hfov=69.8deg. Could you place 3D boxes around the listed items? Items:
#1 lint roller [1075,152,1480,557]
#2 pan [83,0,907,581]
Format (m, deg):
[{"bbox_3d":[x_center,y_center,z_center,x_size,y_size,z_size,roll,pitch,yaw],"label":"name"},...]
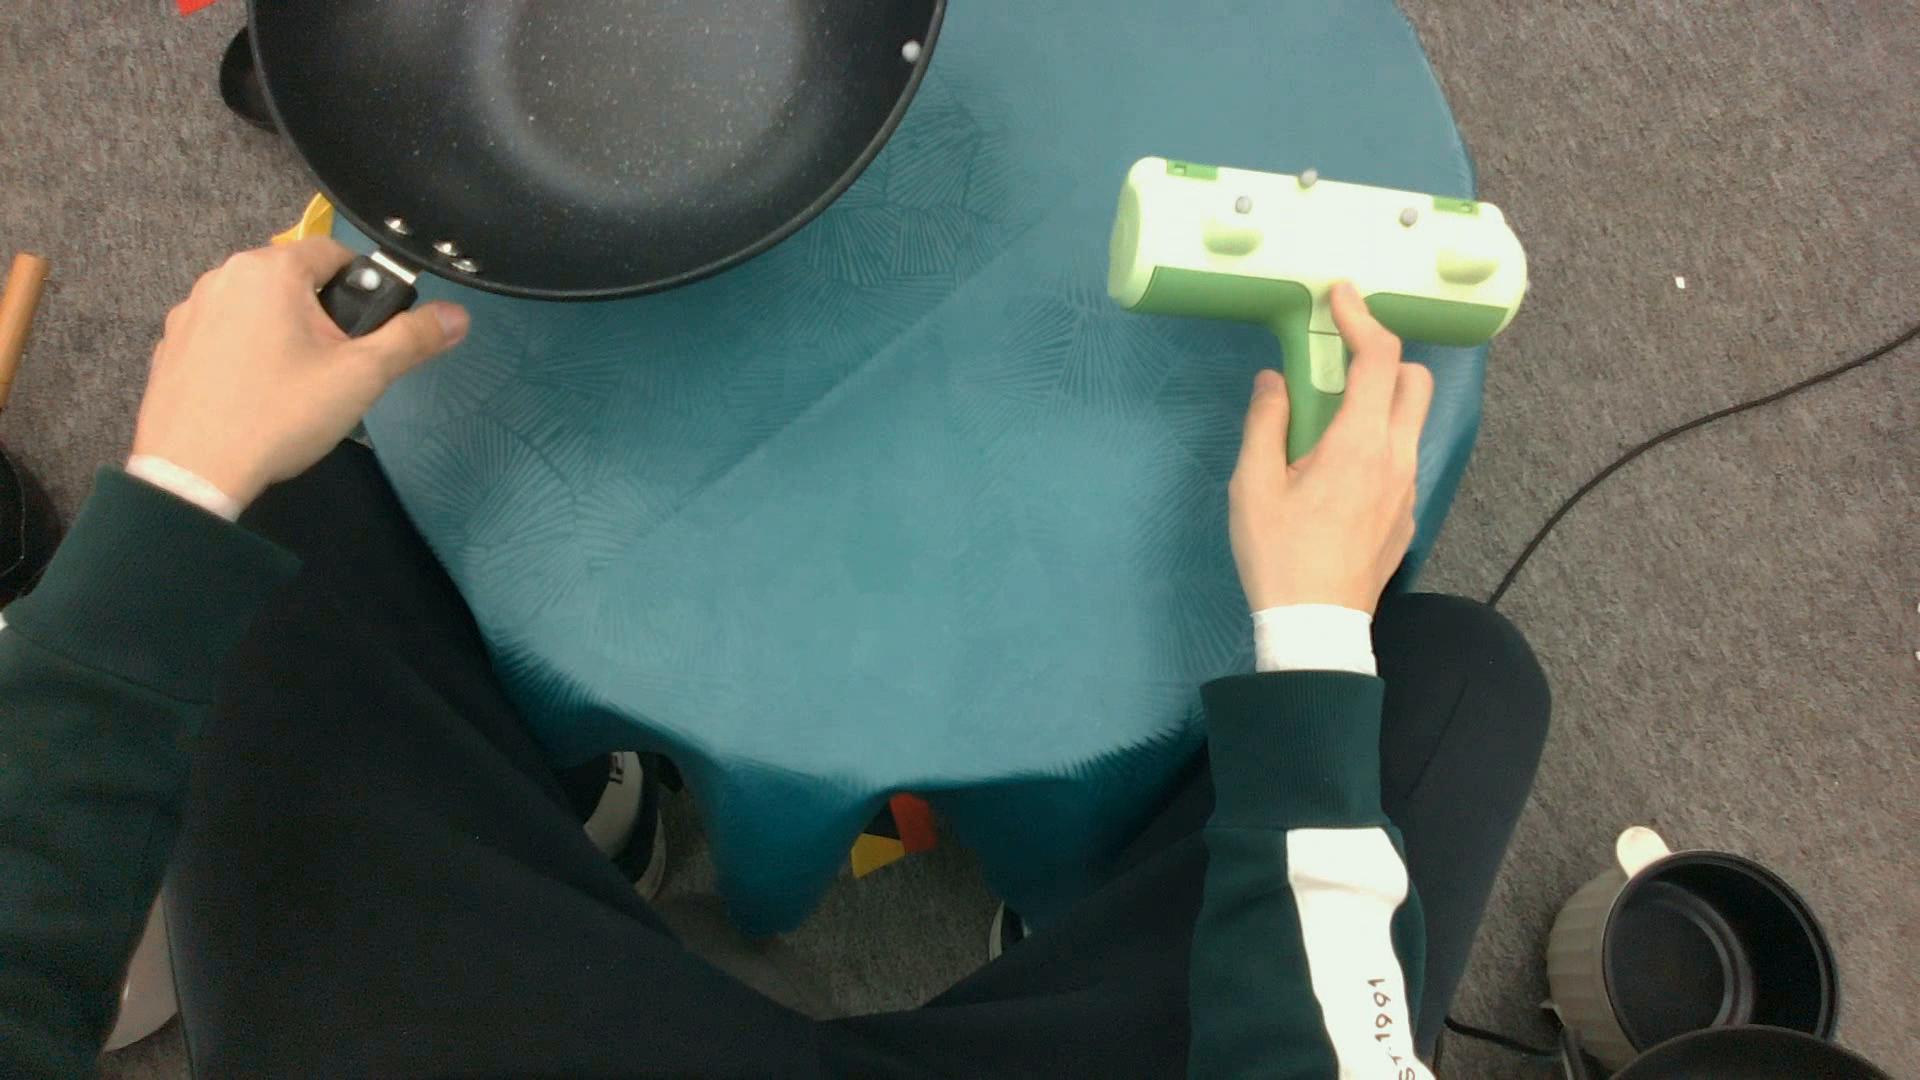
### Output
[{"bbox_3d":[0.157,-0.089,0.636,0.199,0.082,0.184,3,70,-15],"label":"lint roller"},{"bbox_3d":[-0.213,-0.183,0.618,0.310,0.111,0.477,29,83,8],"label":"pan"}]
